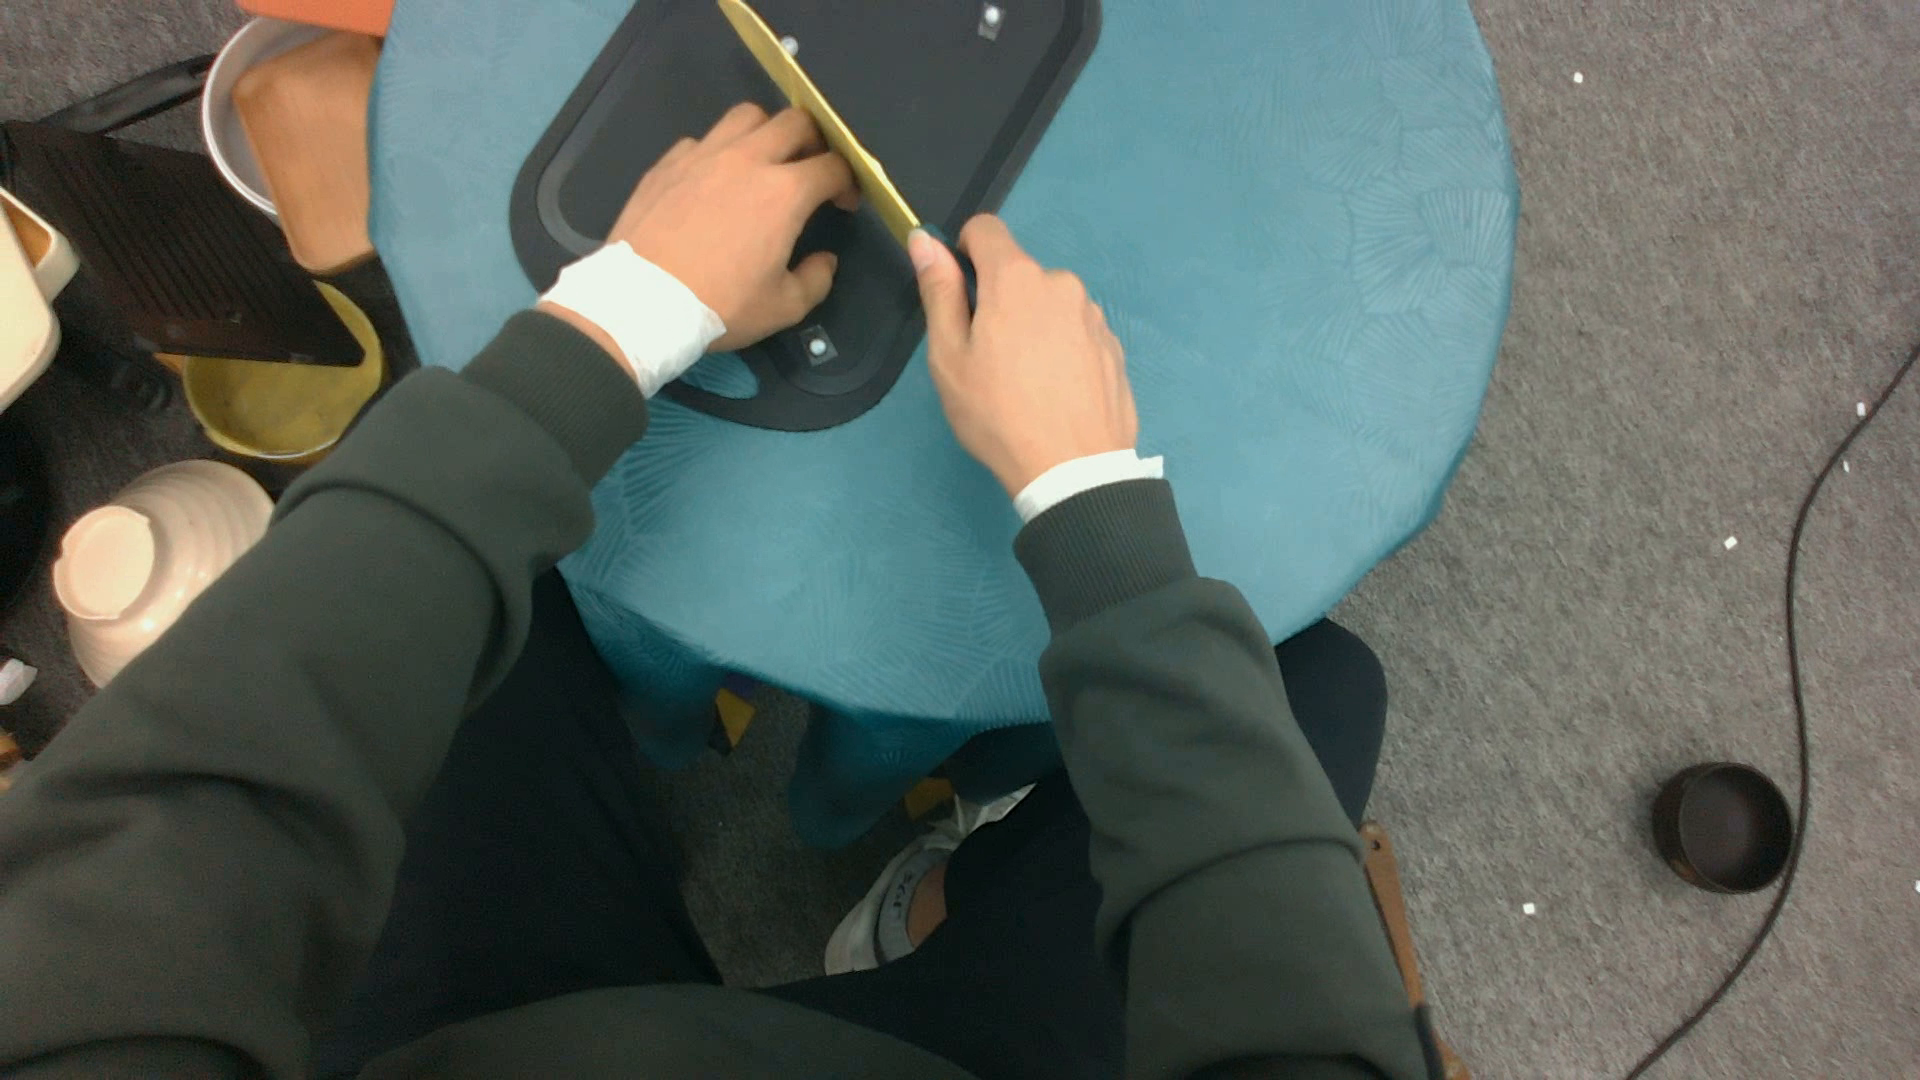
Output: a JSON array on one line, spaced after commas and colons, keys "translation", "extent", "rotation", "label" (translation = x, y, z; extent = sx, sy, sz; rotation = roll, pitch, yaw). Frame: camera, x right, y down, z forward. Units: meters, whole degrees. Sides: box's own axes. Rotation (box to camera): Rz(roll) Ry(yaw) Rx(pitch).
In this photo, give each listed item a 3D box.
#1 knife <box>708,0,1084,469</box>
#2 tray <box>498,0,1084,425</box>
[{"translation": [-0.036, -0.150, 0.651], "extent": [0.027, 0.081, 0.289], "rotation": [-38, 85, 1], "label": "knife"}, {"translation": [-0.083, -0.217, 0.707], "extent": [0.211, 0.010, 0.326], "rotation": [30, 76, -3], "label": "tray"}]
